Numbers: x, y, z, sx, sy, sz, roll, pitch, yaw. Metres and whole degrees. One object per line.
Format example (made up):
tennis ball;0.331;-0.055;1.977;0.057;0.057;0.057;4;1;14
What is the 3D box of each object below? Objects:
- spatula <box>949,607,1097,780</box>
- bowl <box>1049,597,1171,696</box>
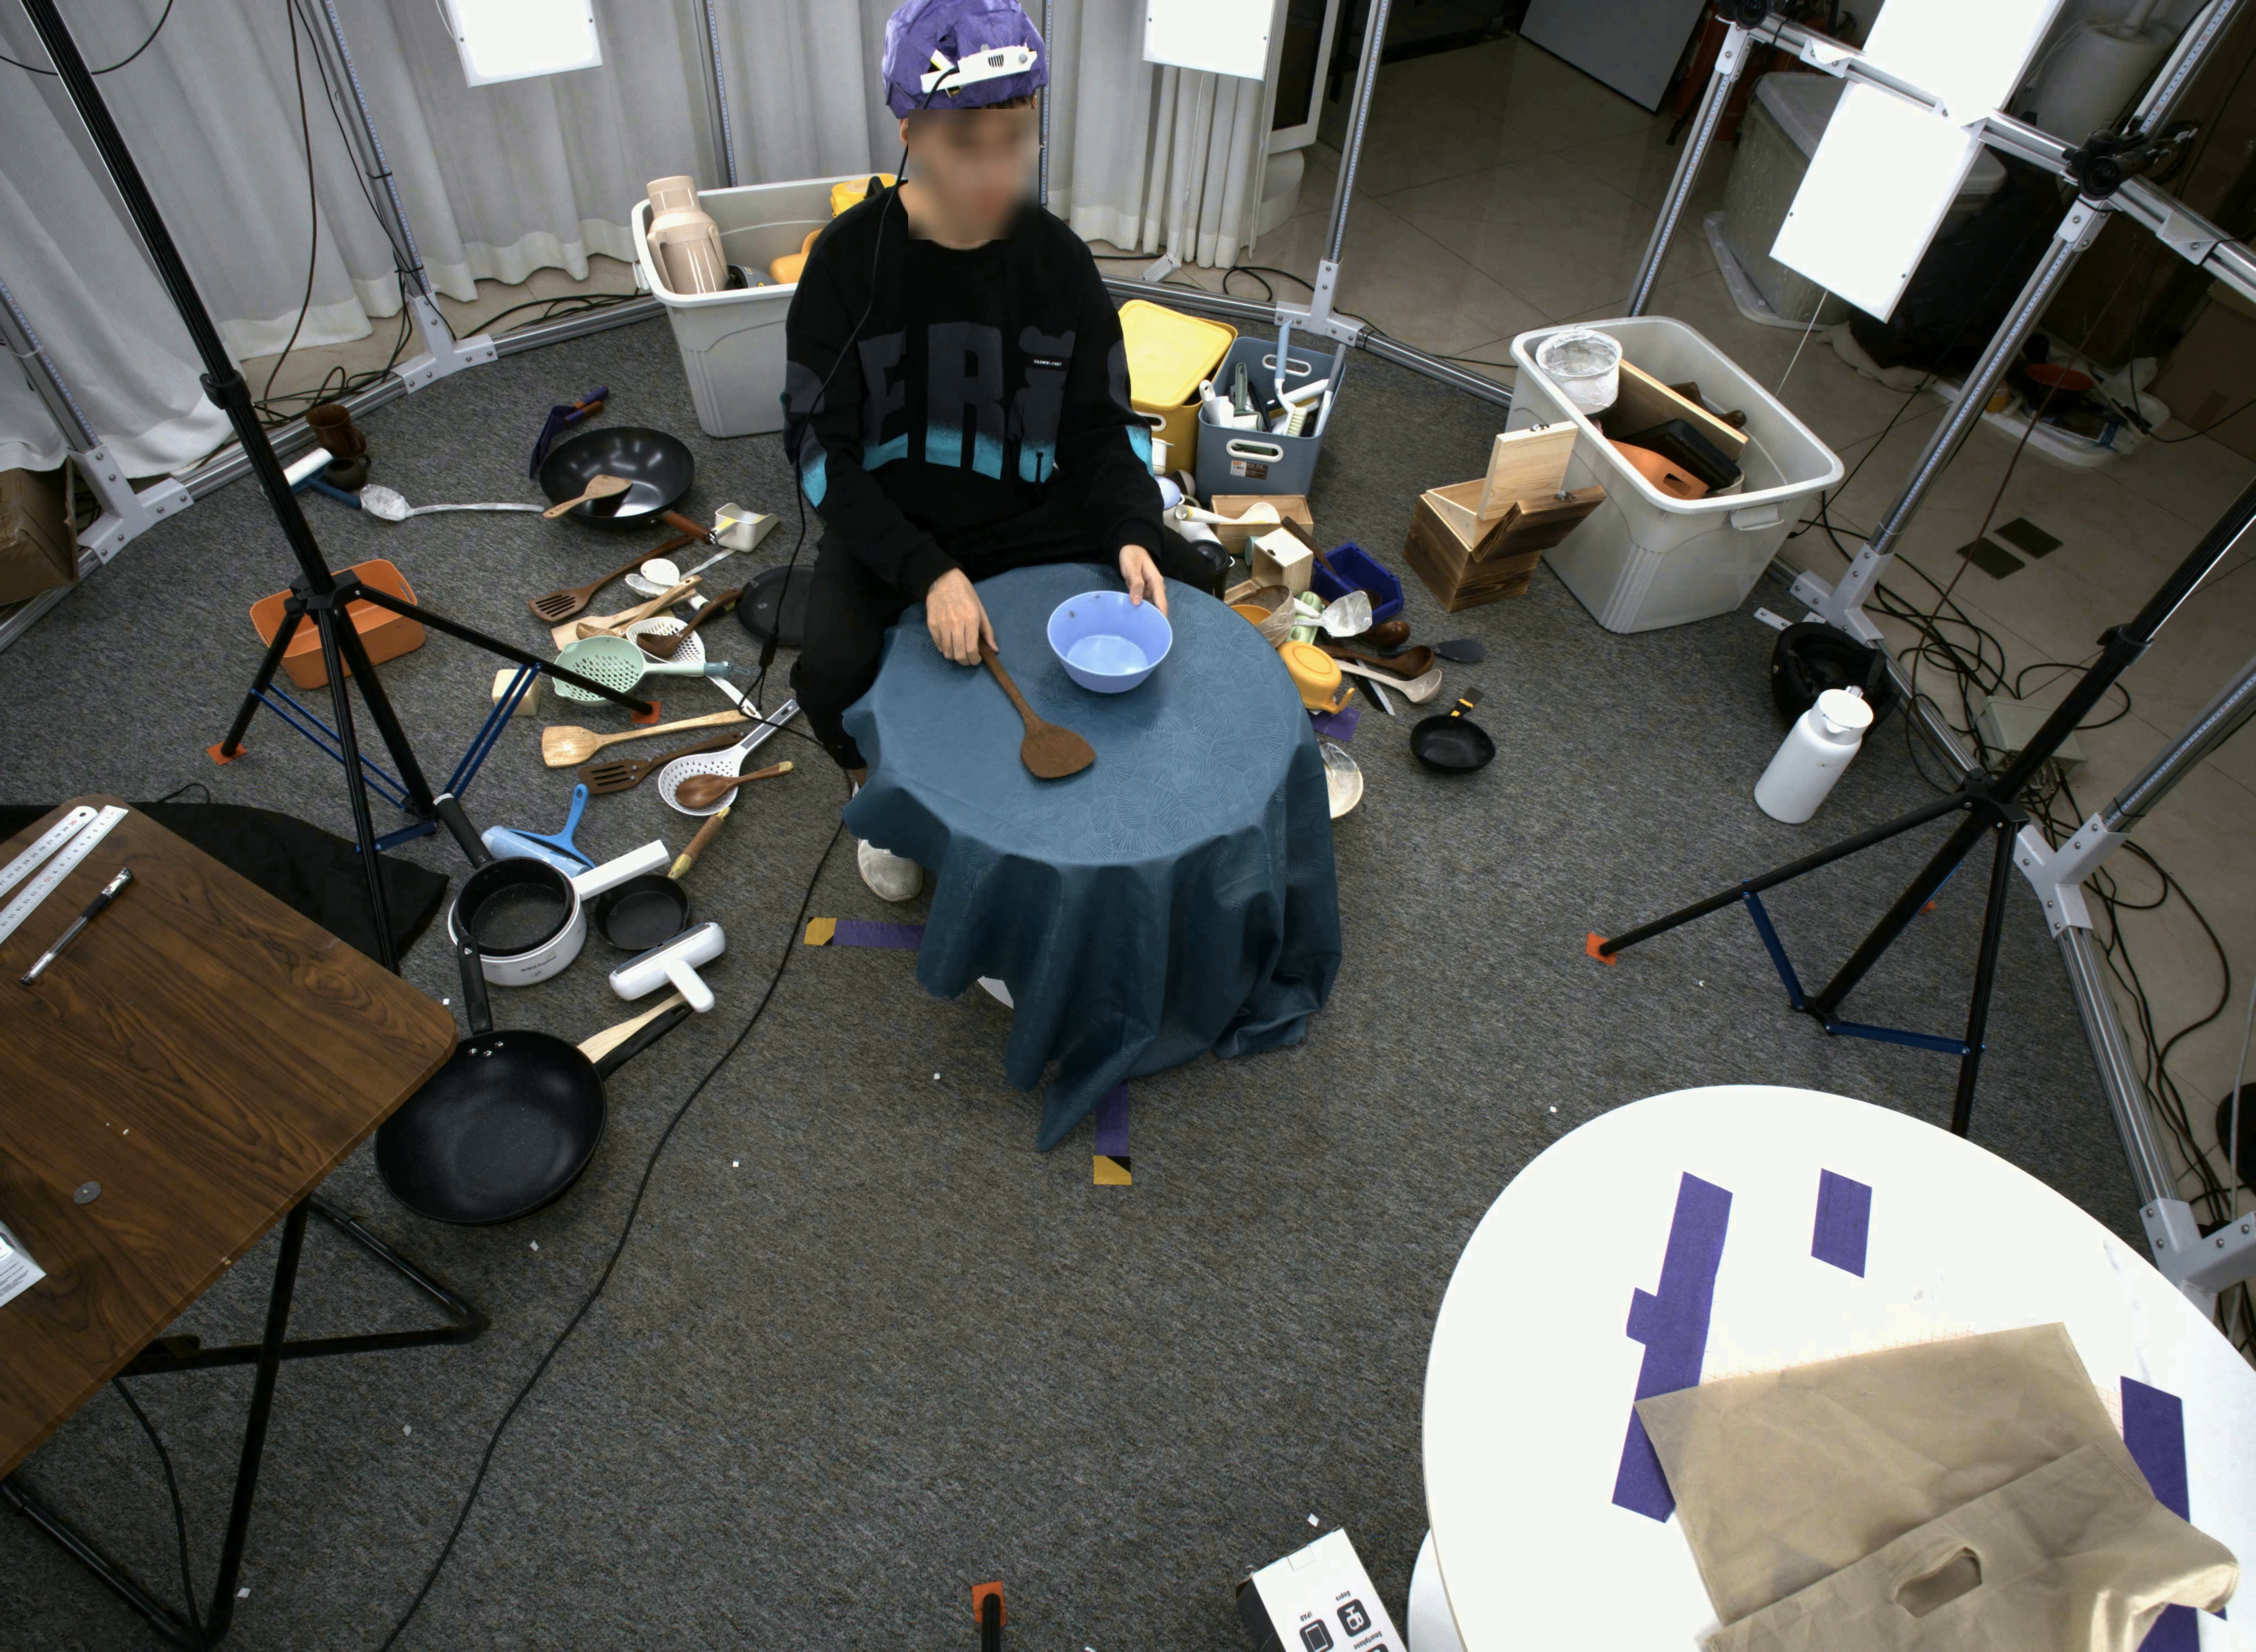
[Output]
spatula;-0.169;-0.200;1.838;0.096;0.015;0.394;-20;53;-21
bowl;-0.027;-0.249;1.845;0.176;0.068;0.180;2;47;-3
